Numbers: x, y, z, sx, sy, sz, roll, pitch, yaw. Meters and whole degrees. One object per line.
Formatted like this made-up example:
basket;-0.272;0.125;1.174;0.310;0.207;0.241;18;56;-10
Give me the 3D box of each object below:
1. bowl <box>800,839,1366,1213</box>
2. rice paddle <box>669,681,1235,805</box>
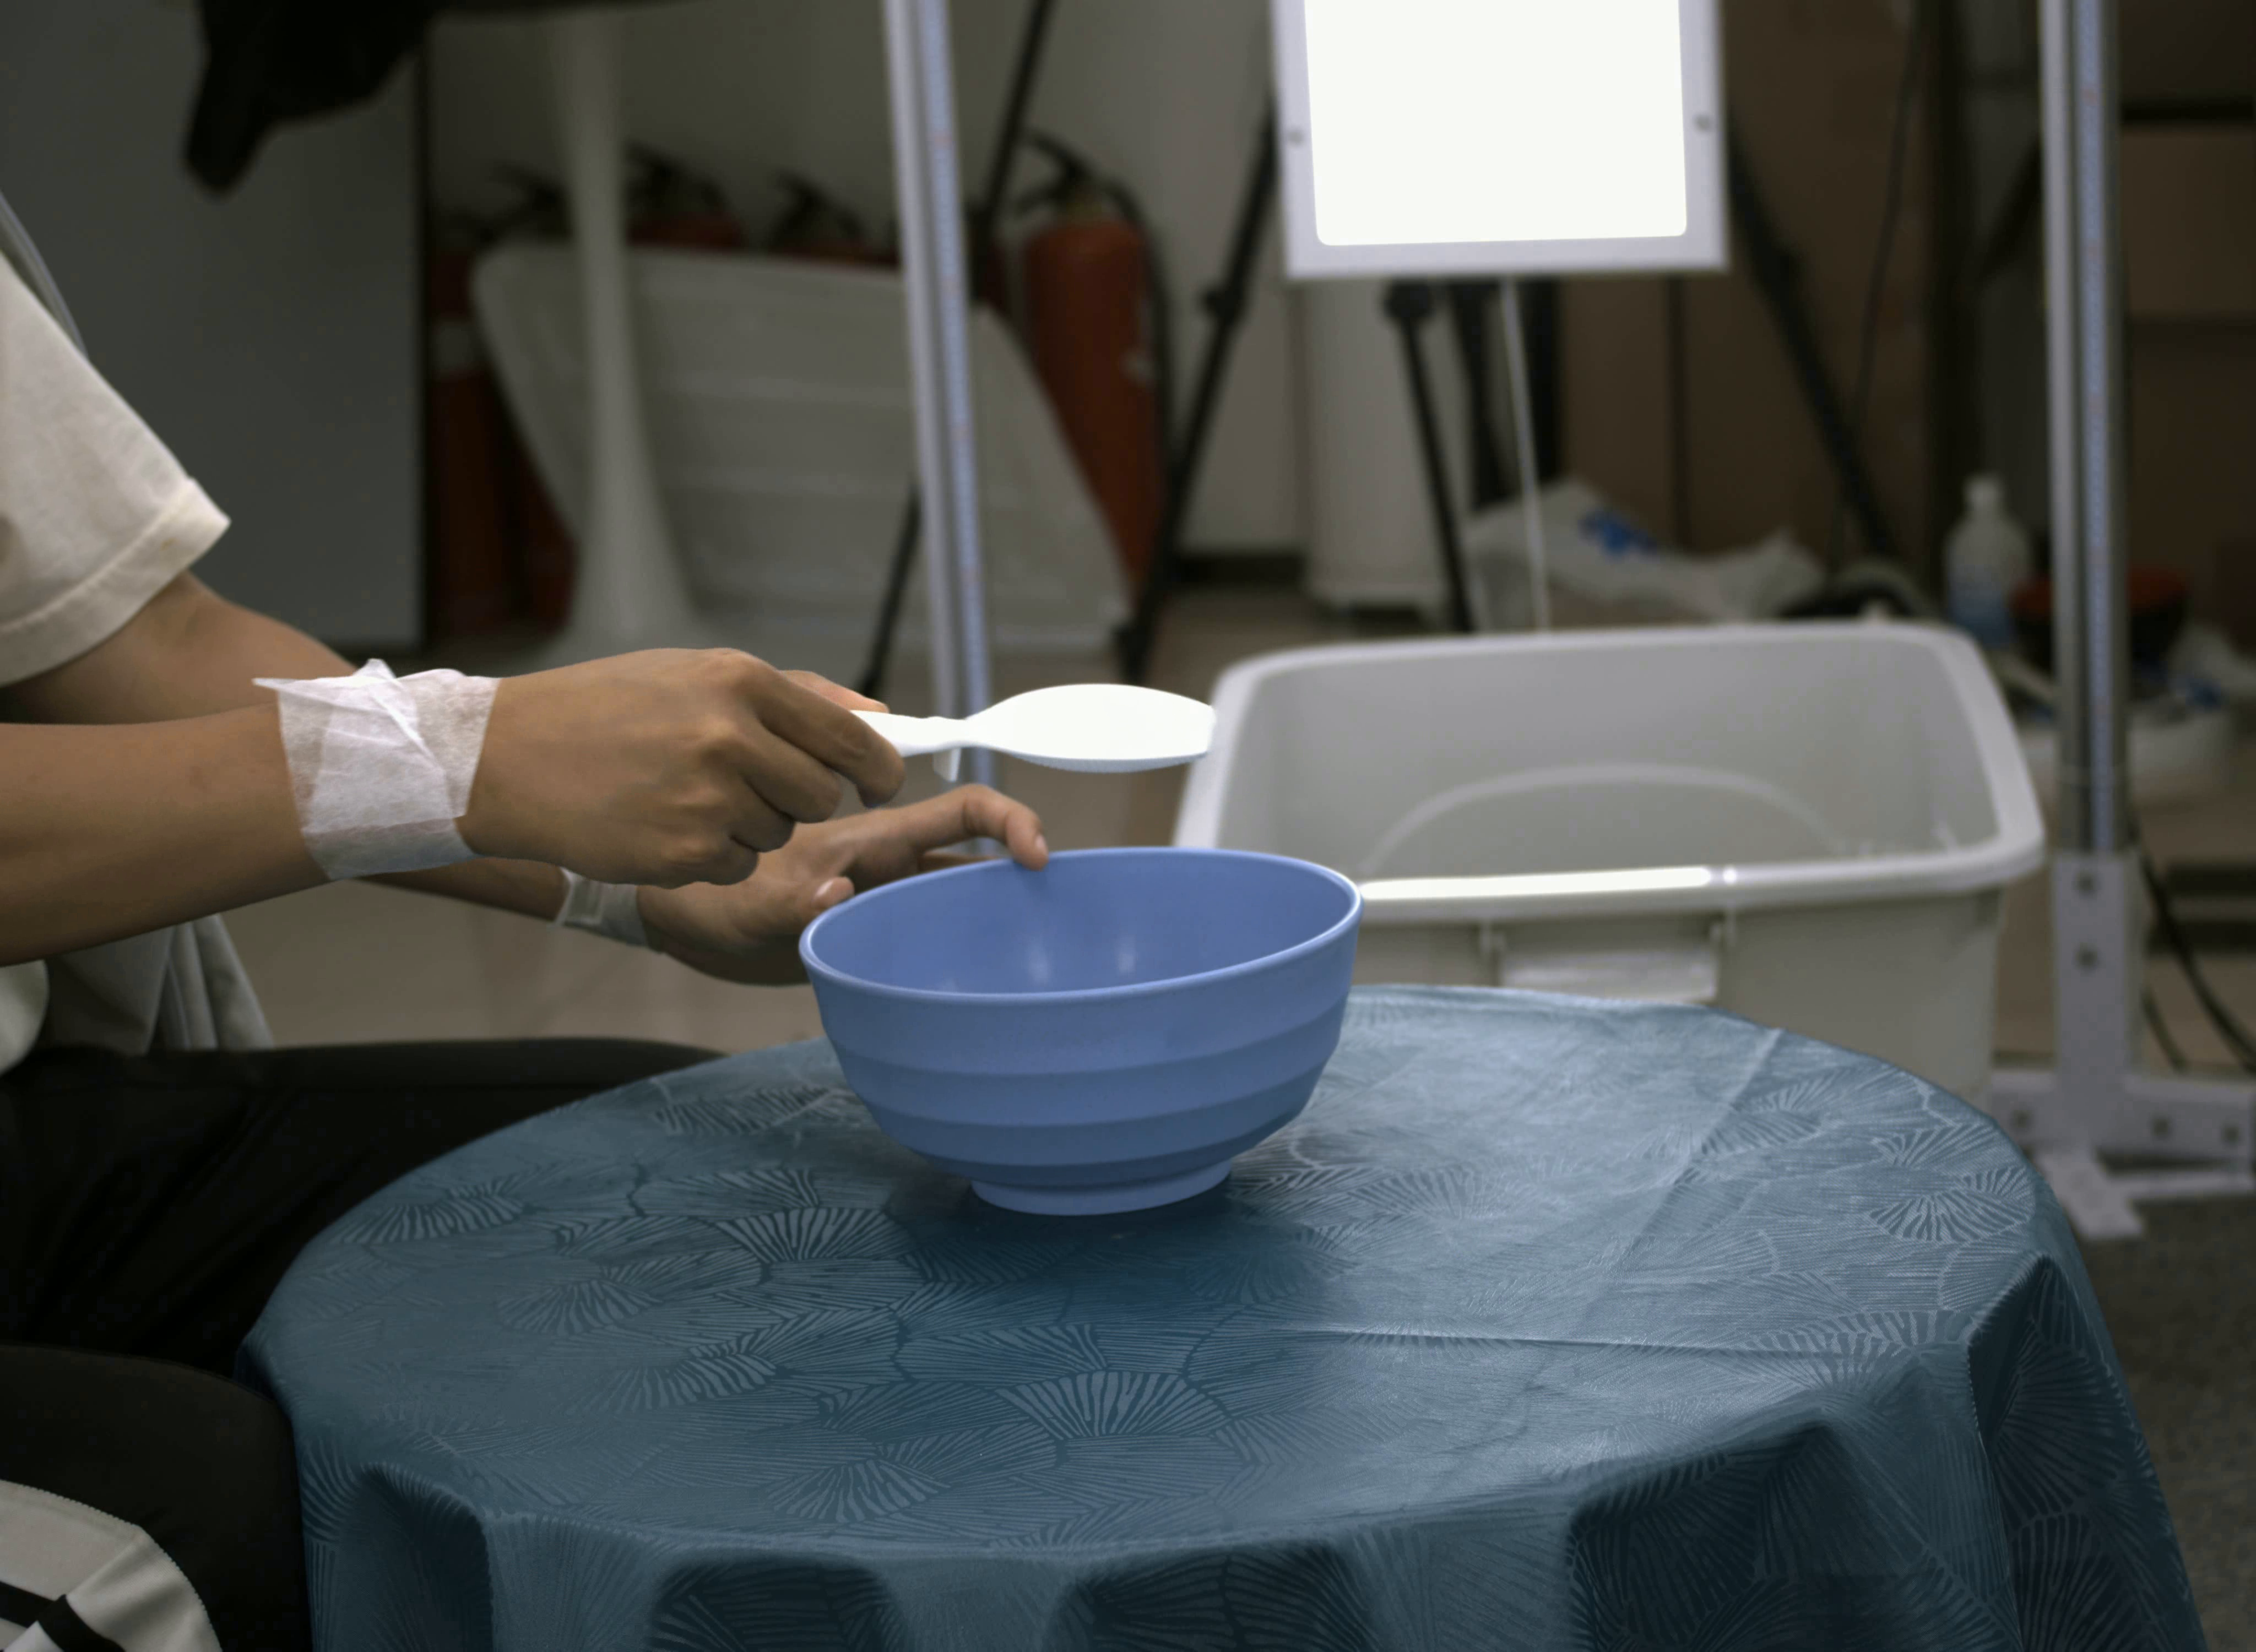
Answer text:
bowl;-0.013;0.075;1.908;0.196;0.096;0.196;-4;15;0
rice paddle;-0.054;-0.031;1.818;0.200;0.029;0.070;-6;25;-29
